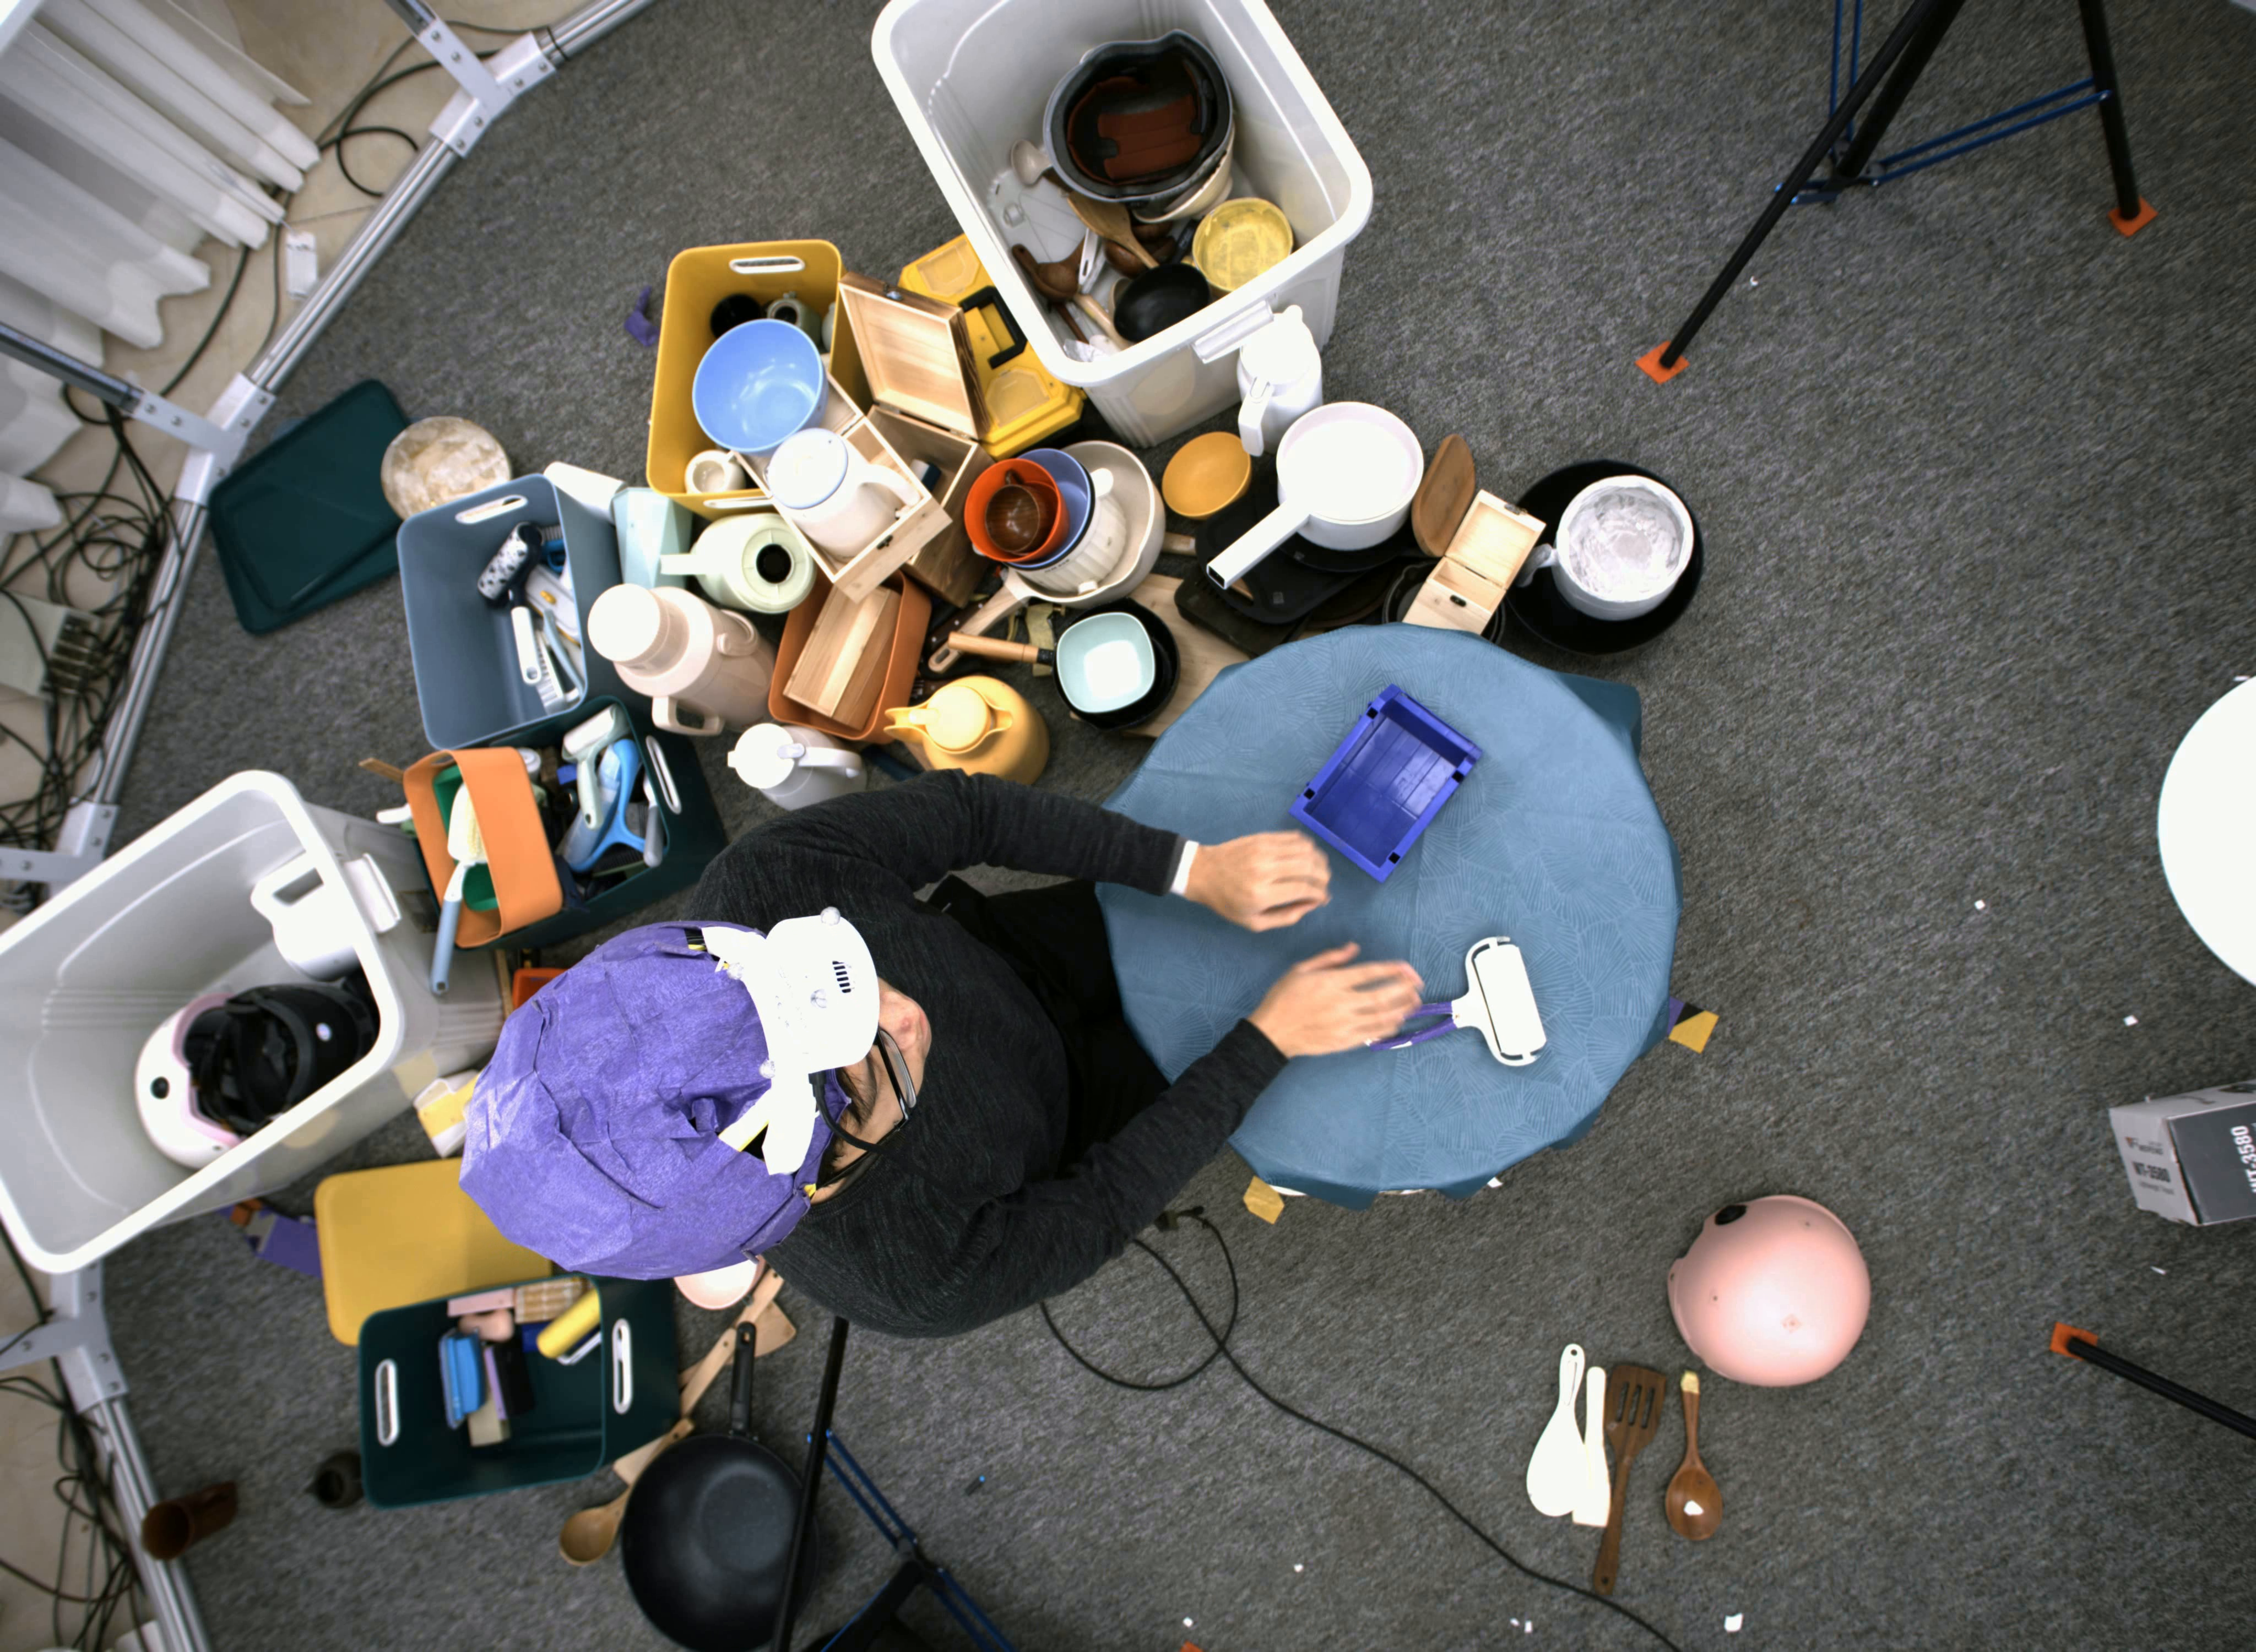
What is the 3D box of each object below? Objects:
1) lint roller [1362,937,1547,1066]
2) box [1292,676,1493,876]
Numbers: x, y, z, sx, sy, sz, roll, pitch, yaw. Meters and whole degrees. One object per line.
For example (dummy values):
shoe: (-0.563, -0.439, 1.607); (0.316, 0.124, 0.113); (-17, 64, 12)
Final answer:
lint roller: (0.328, 0.192, 1.419); (0.182, 0.050, 0.132); (-15, 85, 8)
box: (0.273, -0.056, 1.425); (0.124, 0.082, 0.180); (39, 97, 11)
